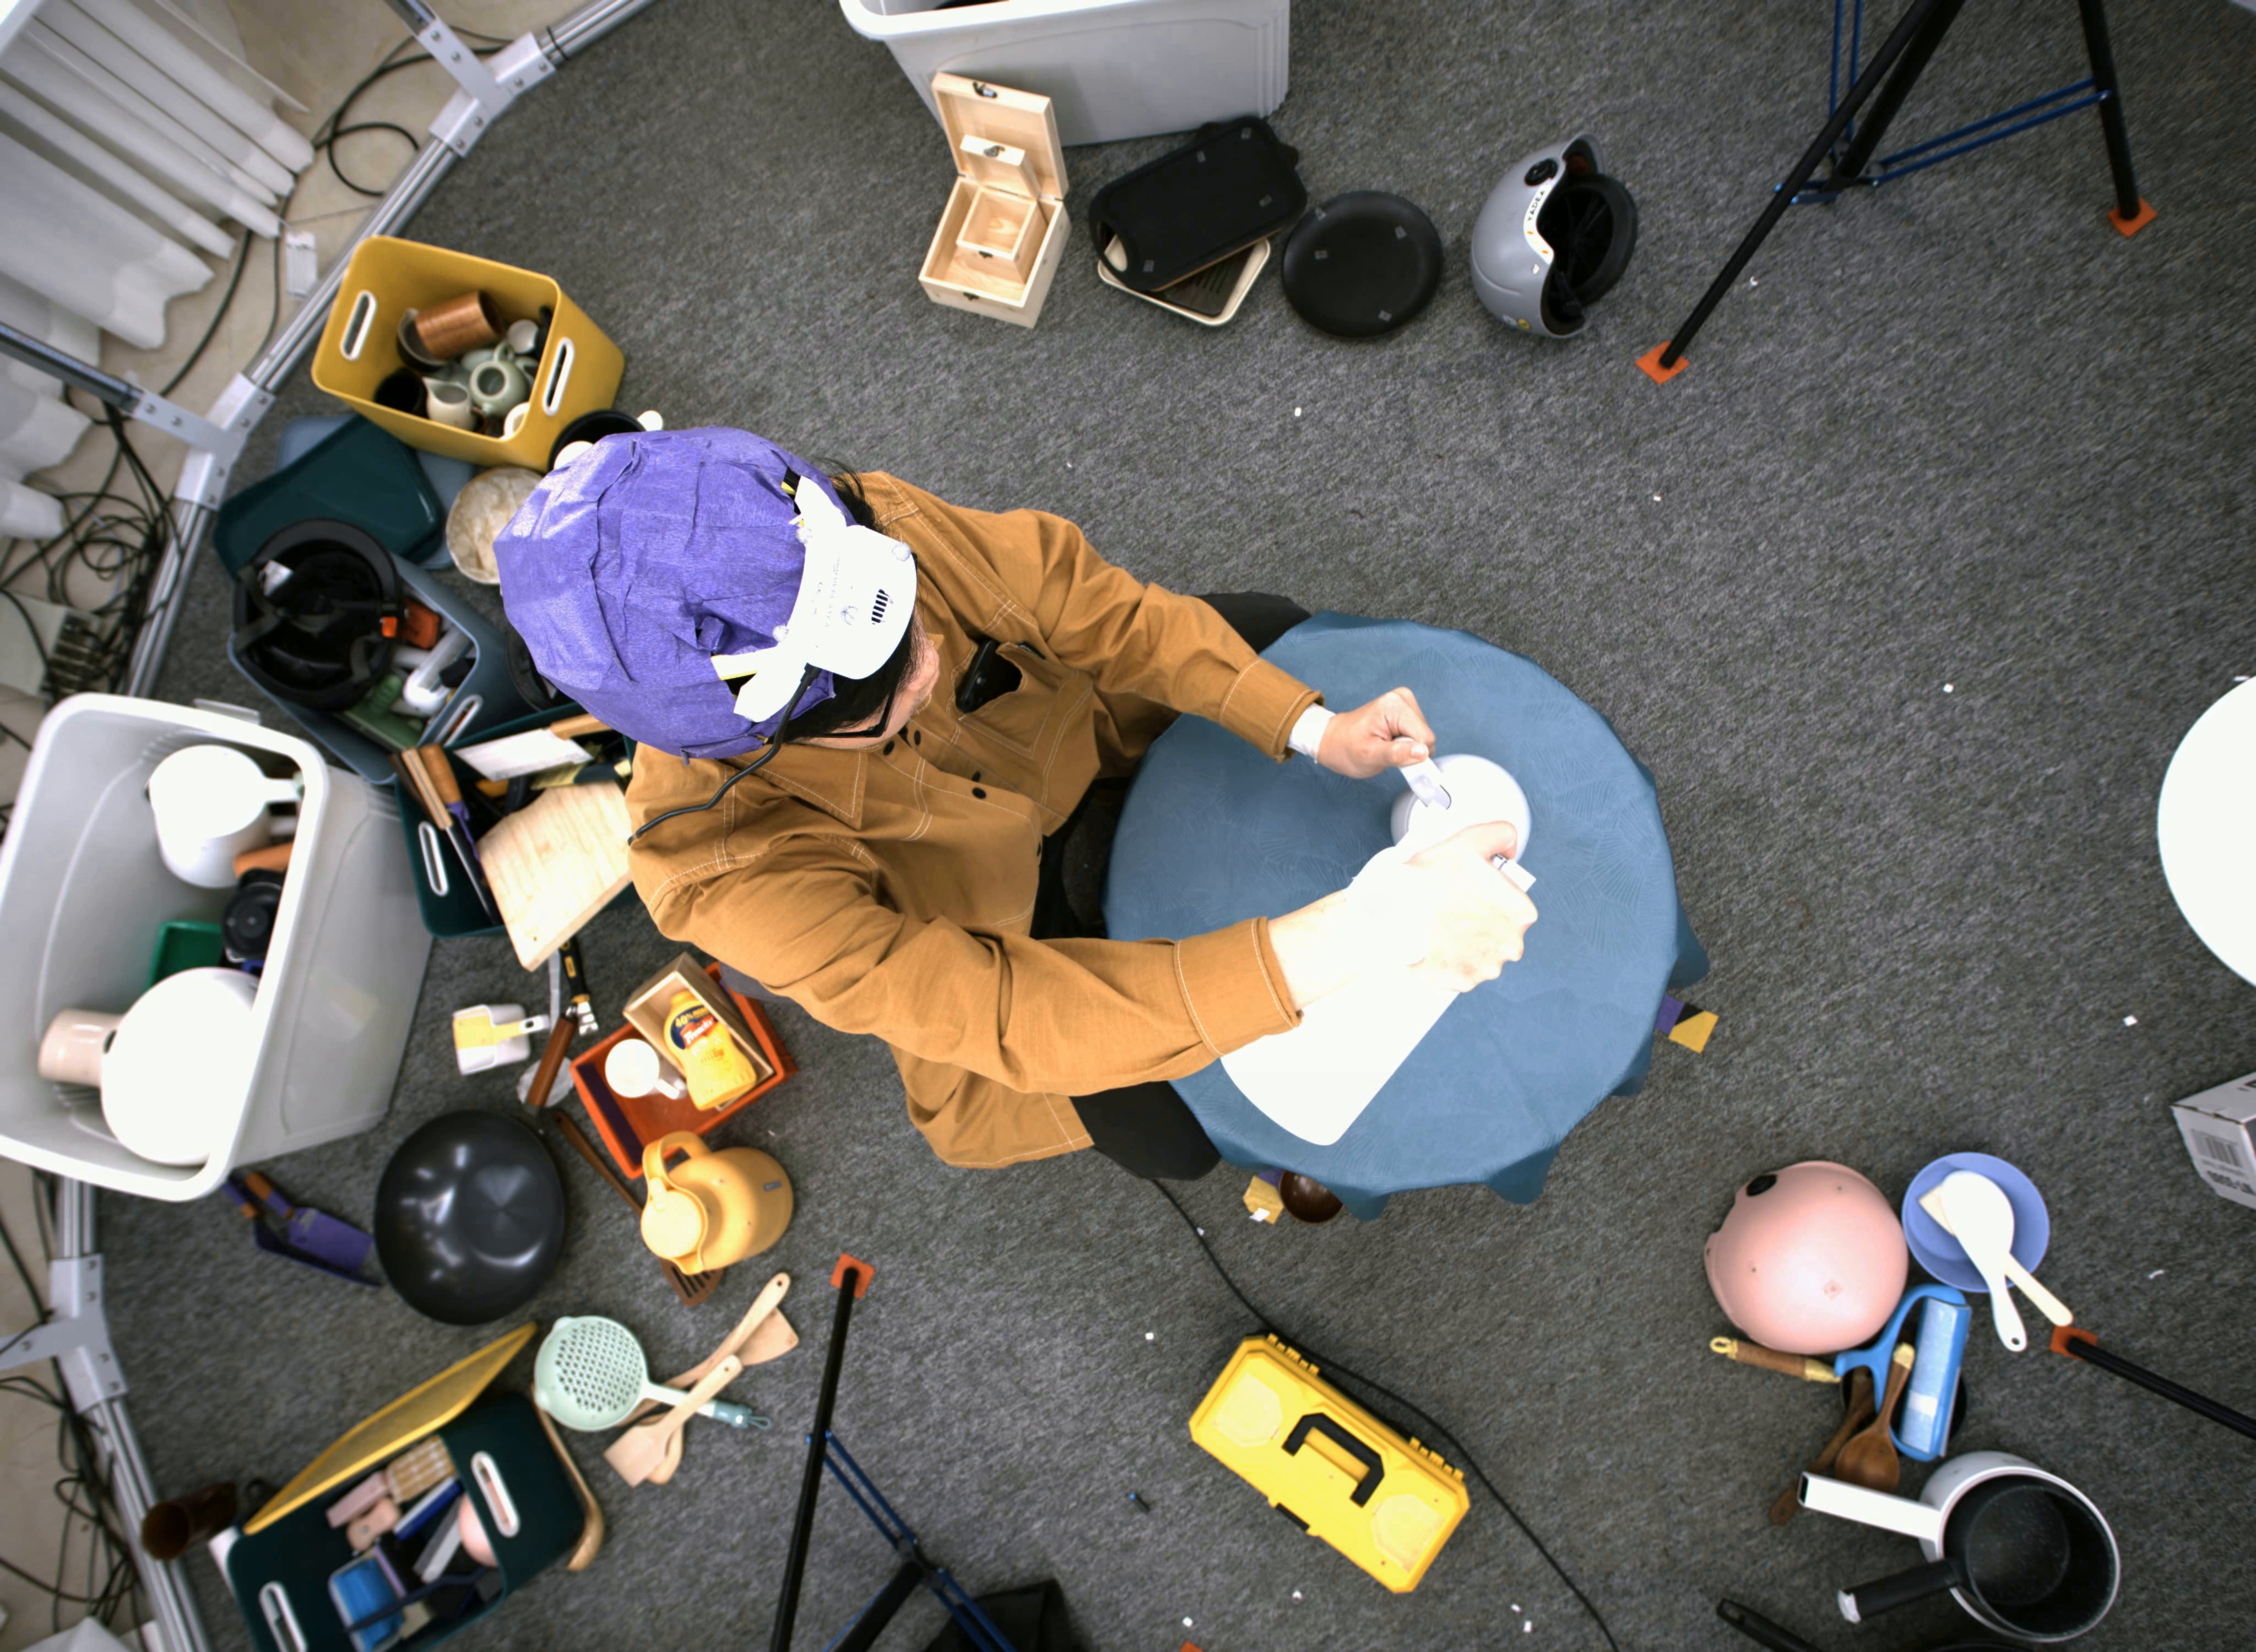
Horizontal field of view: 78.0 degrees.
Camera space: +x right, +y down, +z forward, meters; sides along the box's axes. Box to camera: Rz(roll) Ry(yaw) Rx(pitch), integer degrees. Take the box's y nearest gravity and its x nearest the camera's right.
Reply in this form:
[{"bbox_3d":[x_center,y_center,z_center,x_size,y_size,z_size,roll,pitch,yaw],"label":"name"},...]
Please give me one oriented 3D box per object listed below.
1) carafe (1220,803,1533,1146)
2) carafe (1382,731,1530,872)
[{"bbox_3d":[0.193,0.118,1.065,0.124,0.171,0.271,38,102,-3],"label":"carafe"},{"bbox_3d":[0.295,-0.017,1.276,0.134,0.247,0.167,-39,84,12],"label":"carafe"}]
